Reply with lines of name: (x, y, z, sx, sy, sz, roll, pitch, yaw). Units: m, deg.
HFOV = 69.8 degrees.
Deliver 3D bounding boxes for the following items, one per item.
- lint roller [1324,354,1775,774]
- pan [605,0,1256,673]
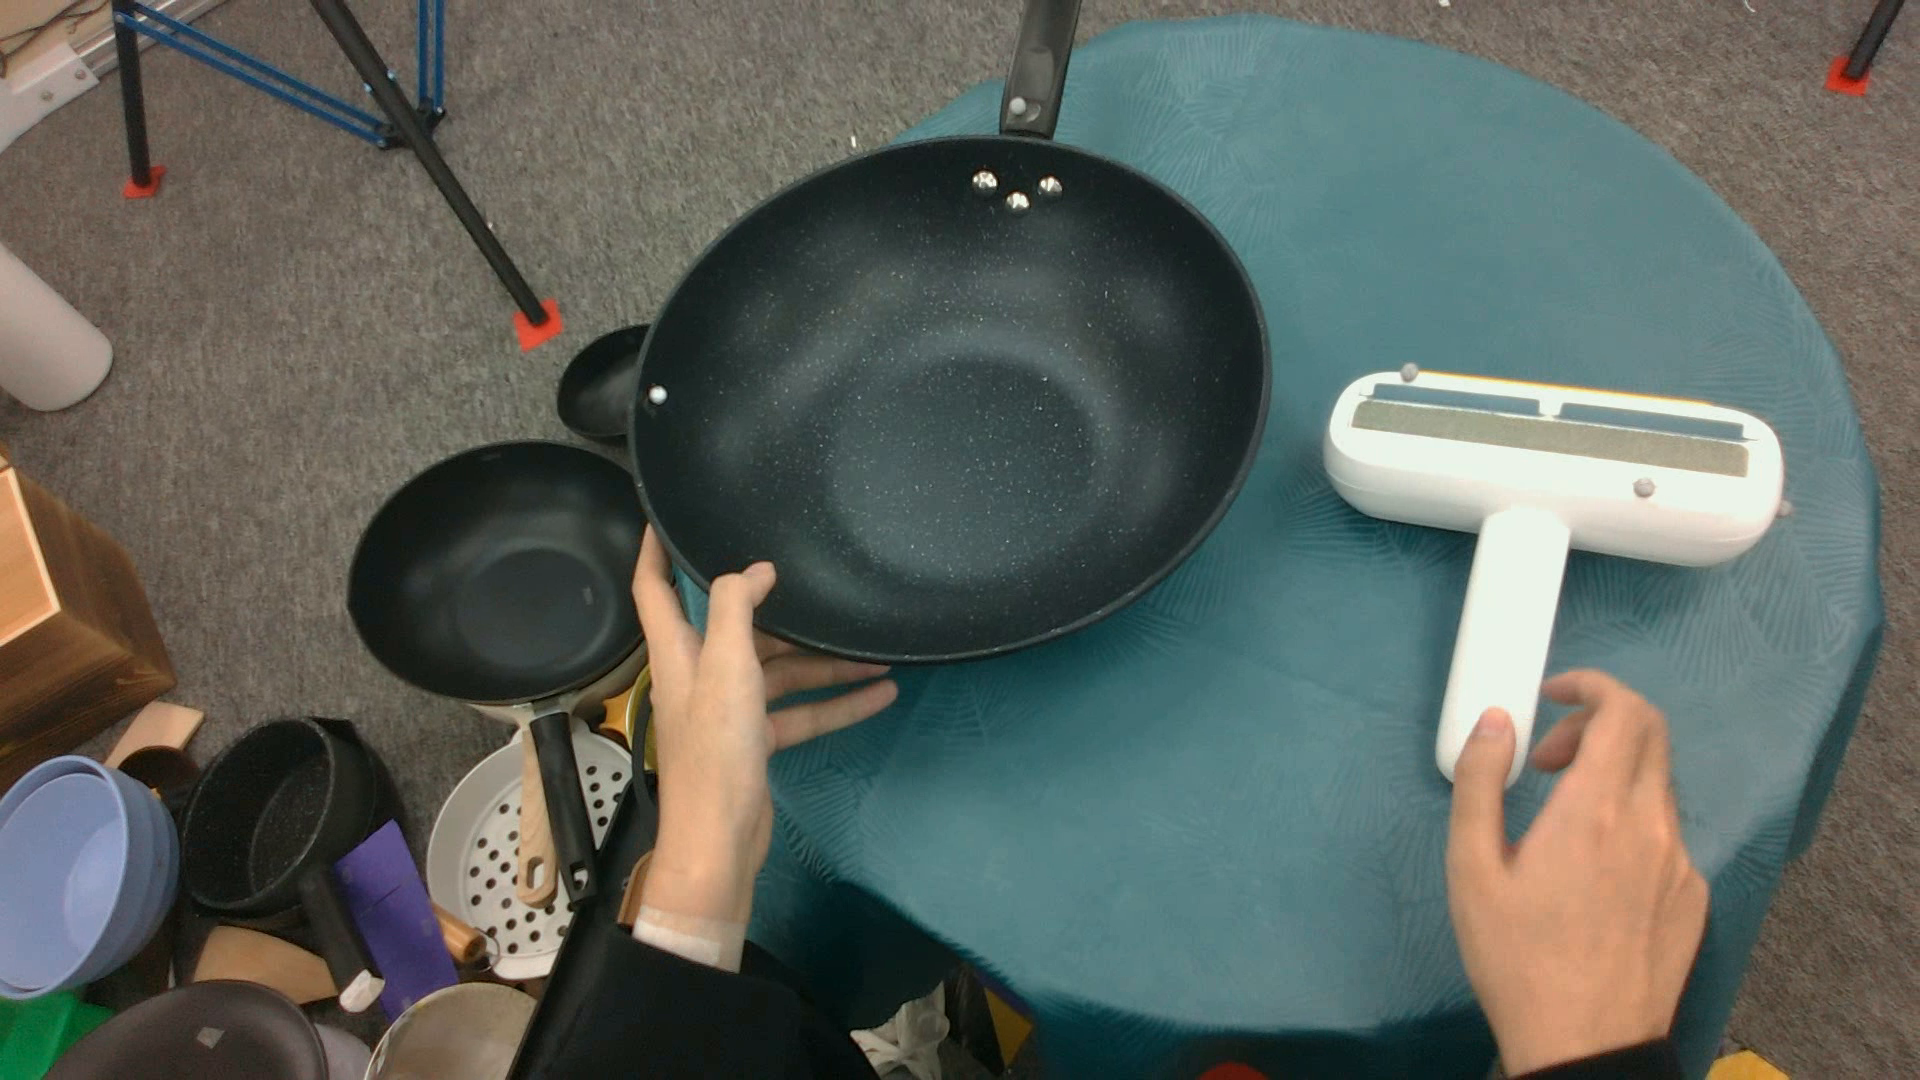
lint roller: (0.245, 0.011, 0.622, 0.192, 0.074, 0.193, 16, 66, 22)
pan: (0.006, -0.140, 0.717, 0.310, 0.111, 0.479, 10, 63, 11)
